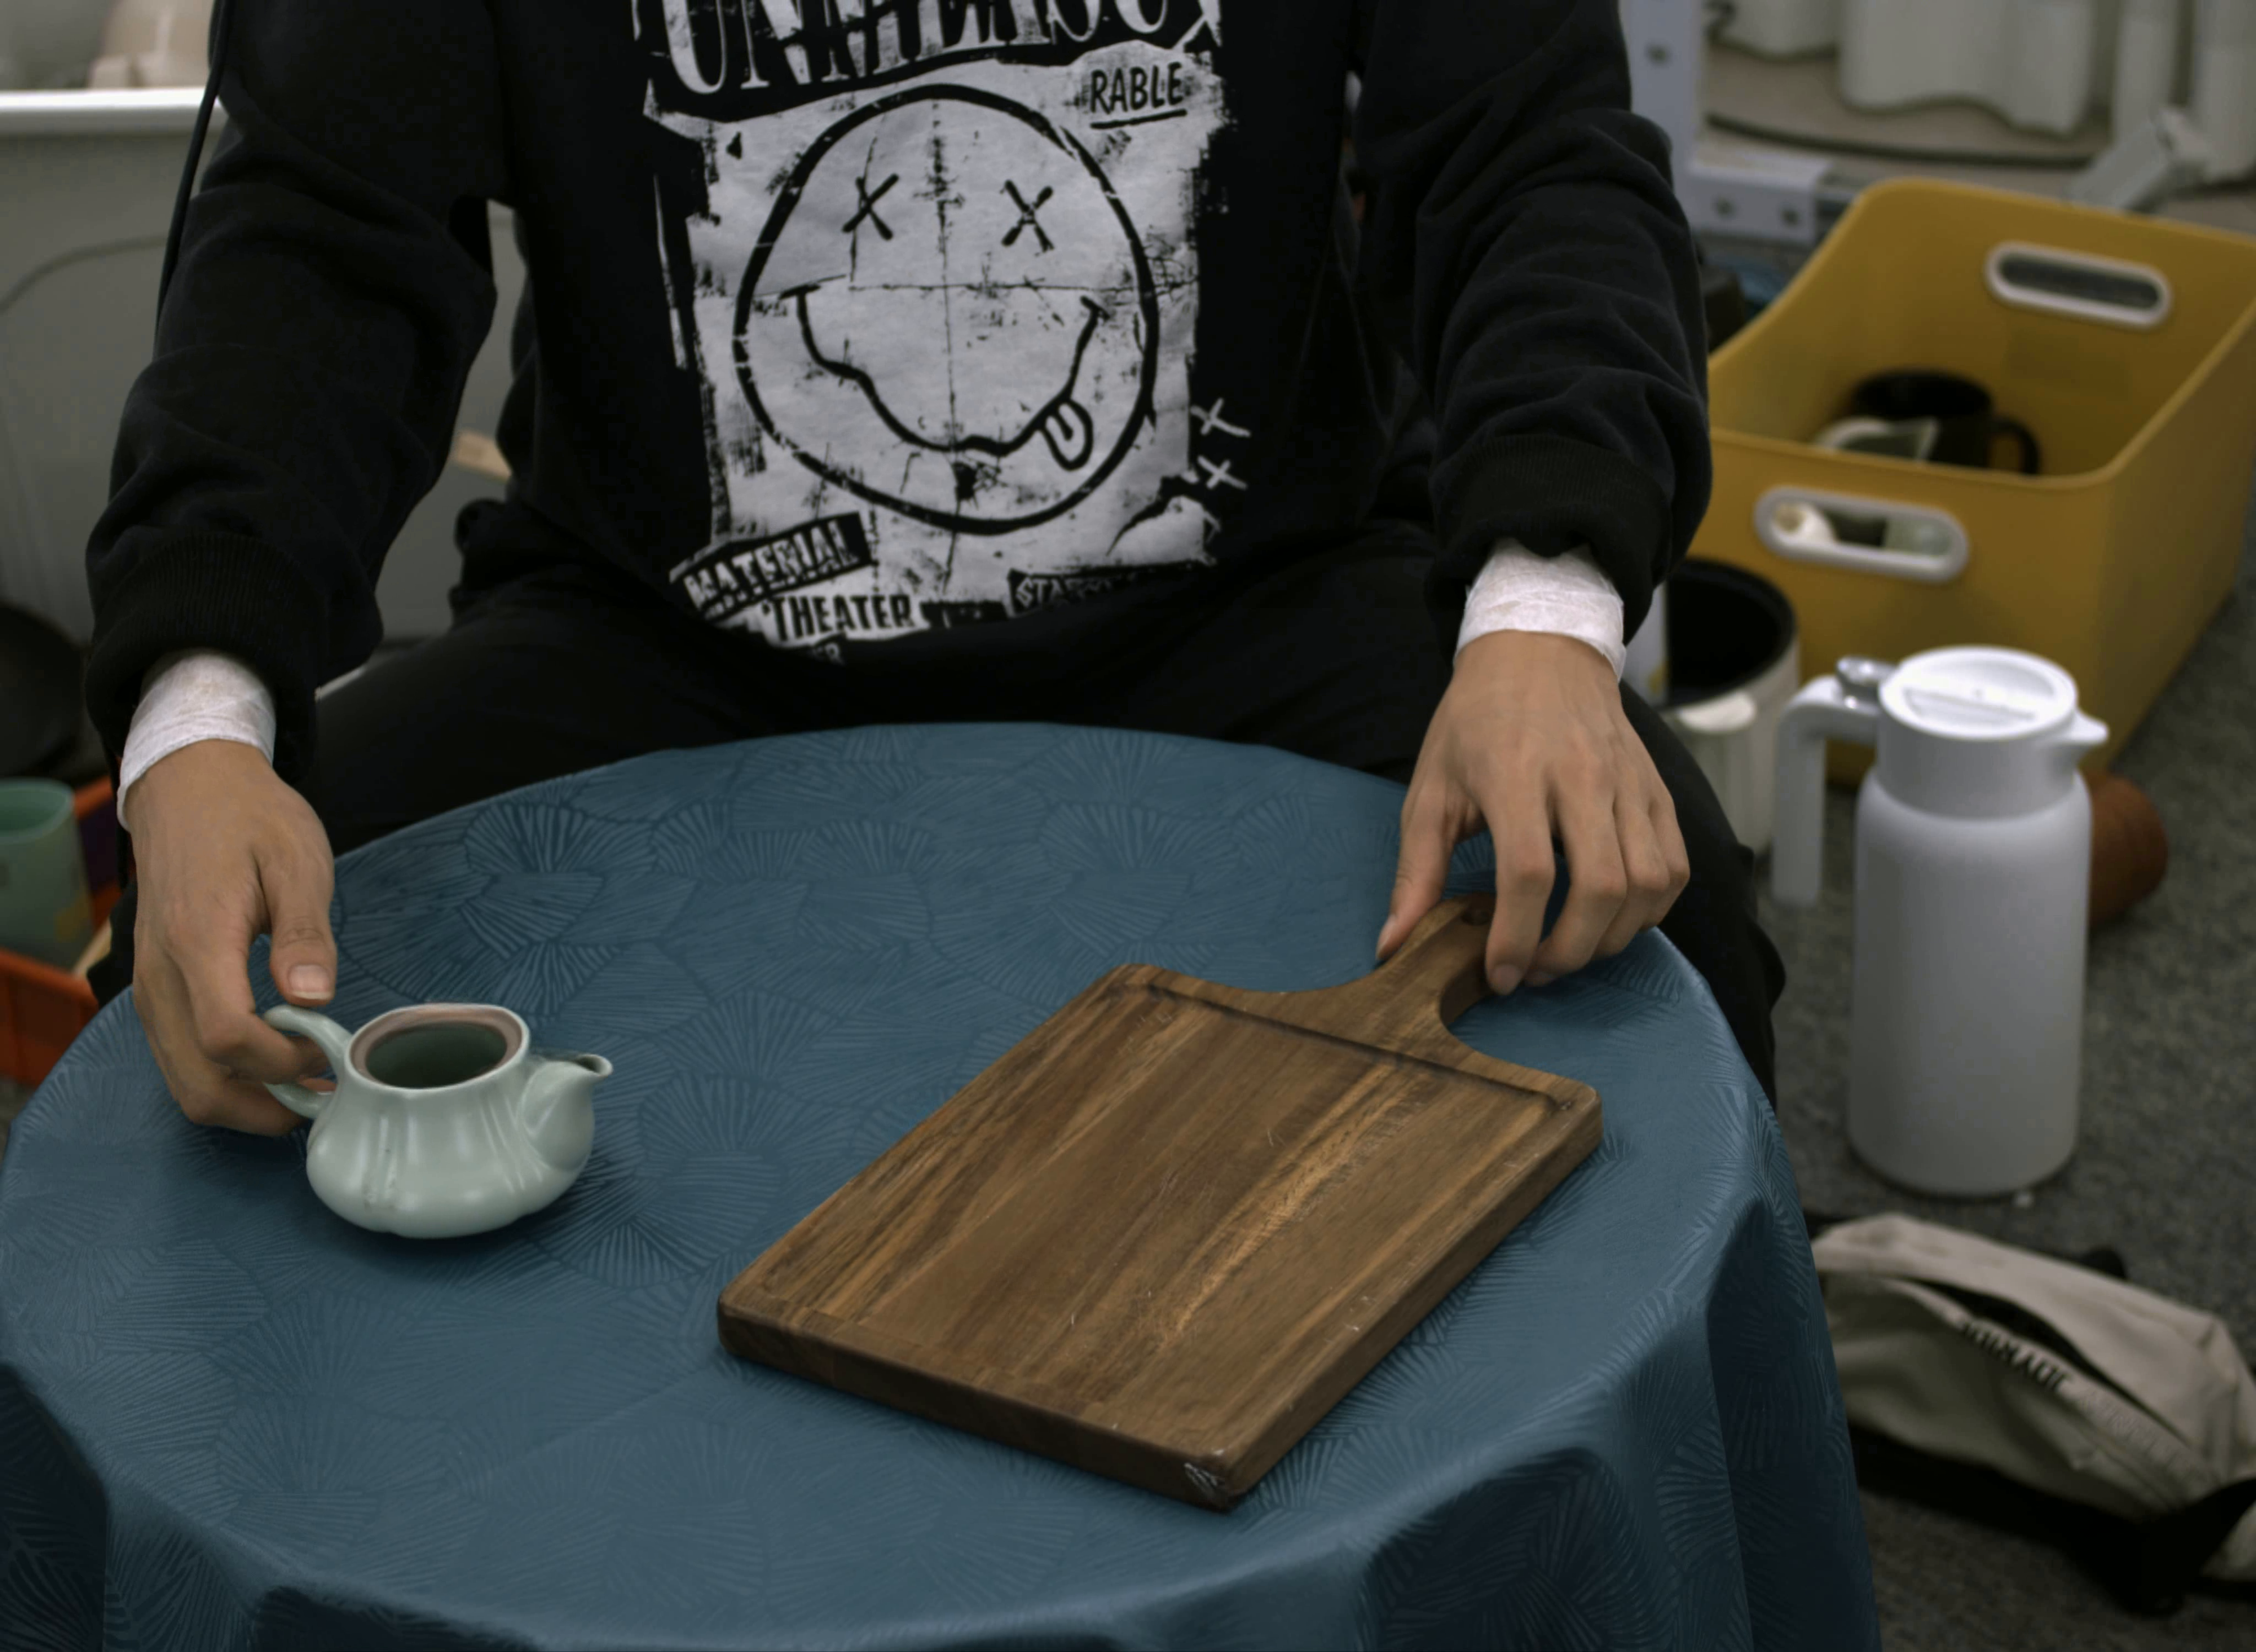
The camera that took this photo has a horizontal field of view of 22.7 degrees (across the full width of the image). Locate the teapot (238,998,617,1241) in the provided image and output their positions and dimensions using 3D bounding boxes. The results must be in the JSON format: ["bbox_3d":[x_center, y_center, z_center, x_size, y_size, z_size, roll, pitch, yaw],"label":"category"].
[{"bbox_3d":[-0.232,0.096,1.867,0.136,0.061,0.098,6,30,17],"label":"teapot"}]

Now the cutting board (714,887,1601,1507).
[{"bbox_3d":[0.038,0.106,1.862,0.200,0.023,0.358,13,32,28],"label":"cutting board"}]
